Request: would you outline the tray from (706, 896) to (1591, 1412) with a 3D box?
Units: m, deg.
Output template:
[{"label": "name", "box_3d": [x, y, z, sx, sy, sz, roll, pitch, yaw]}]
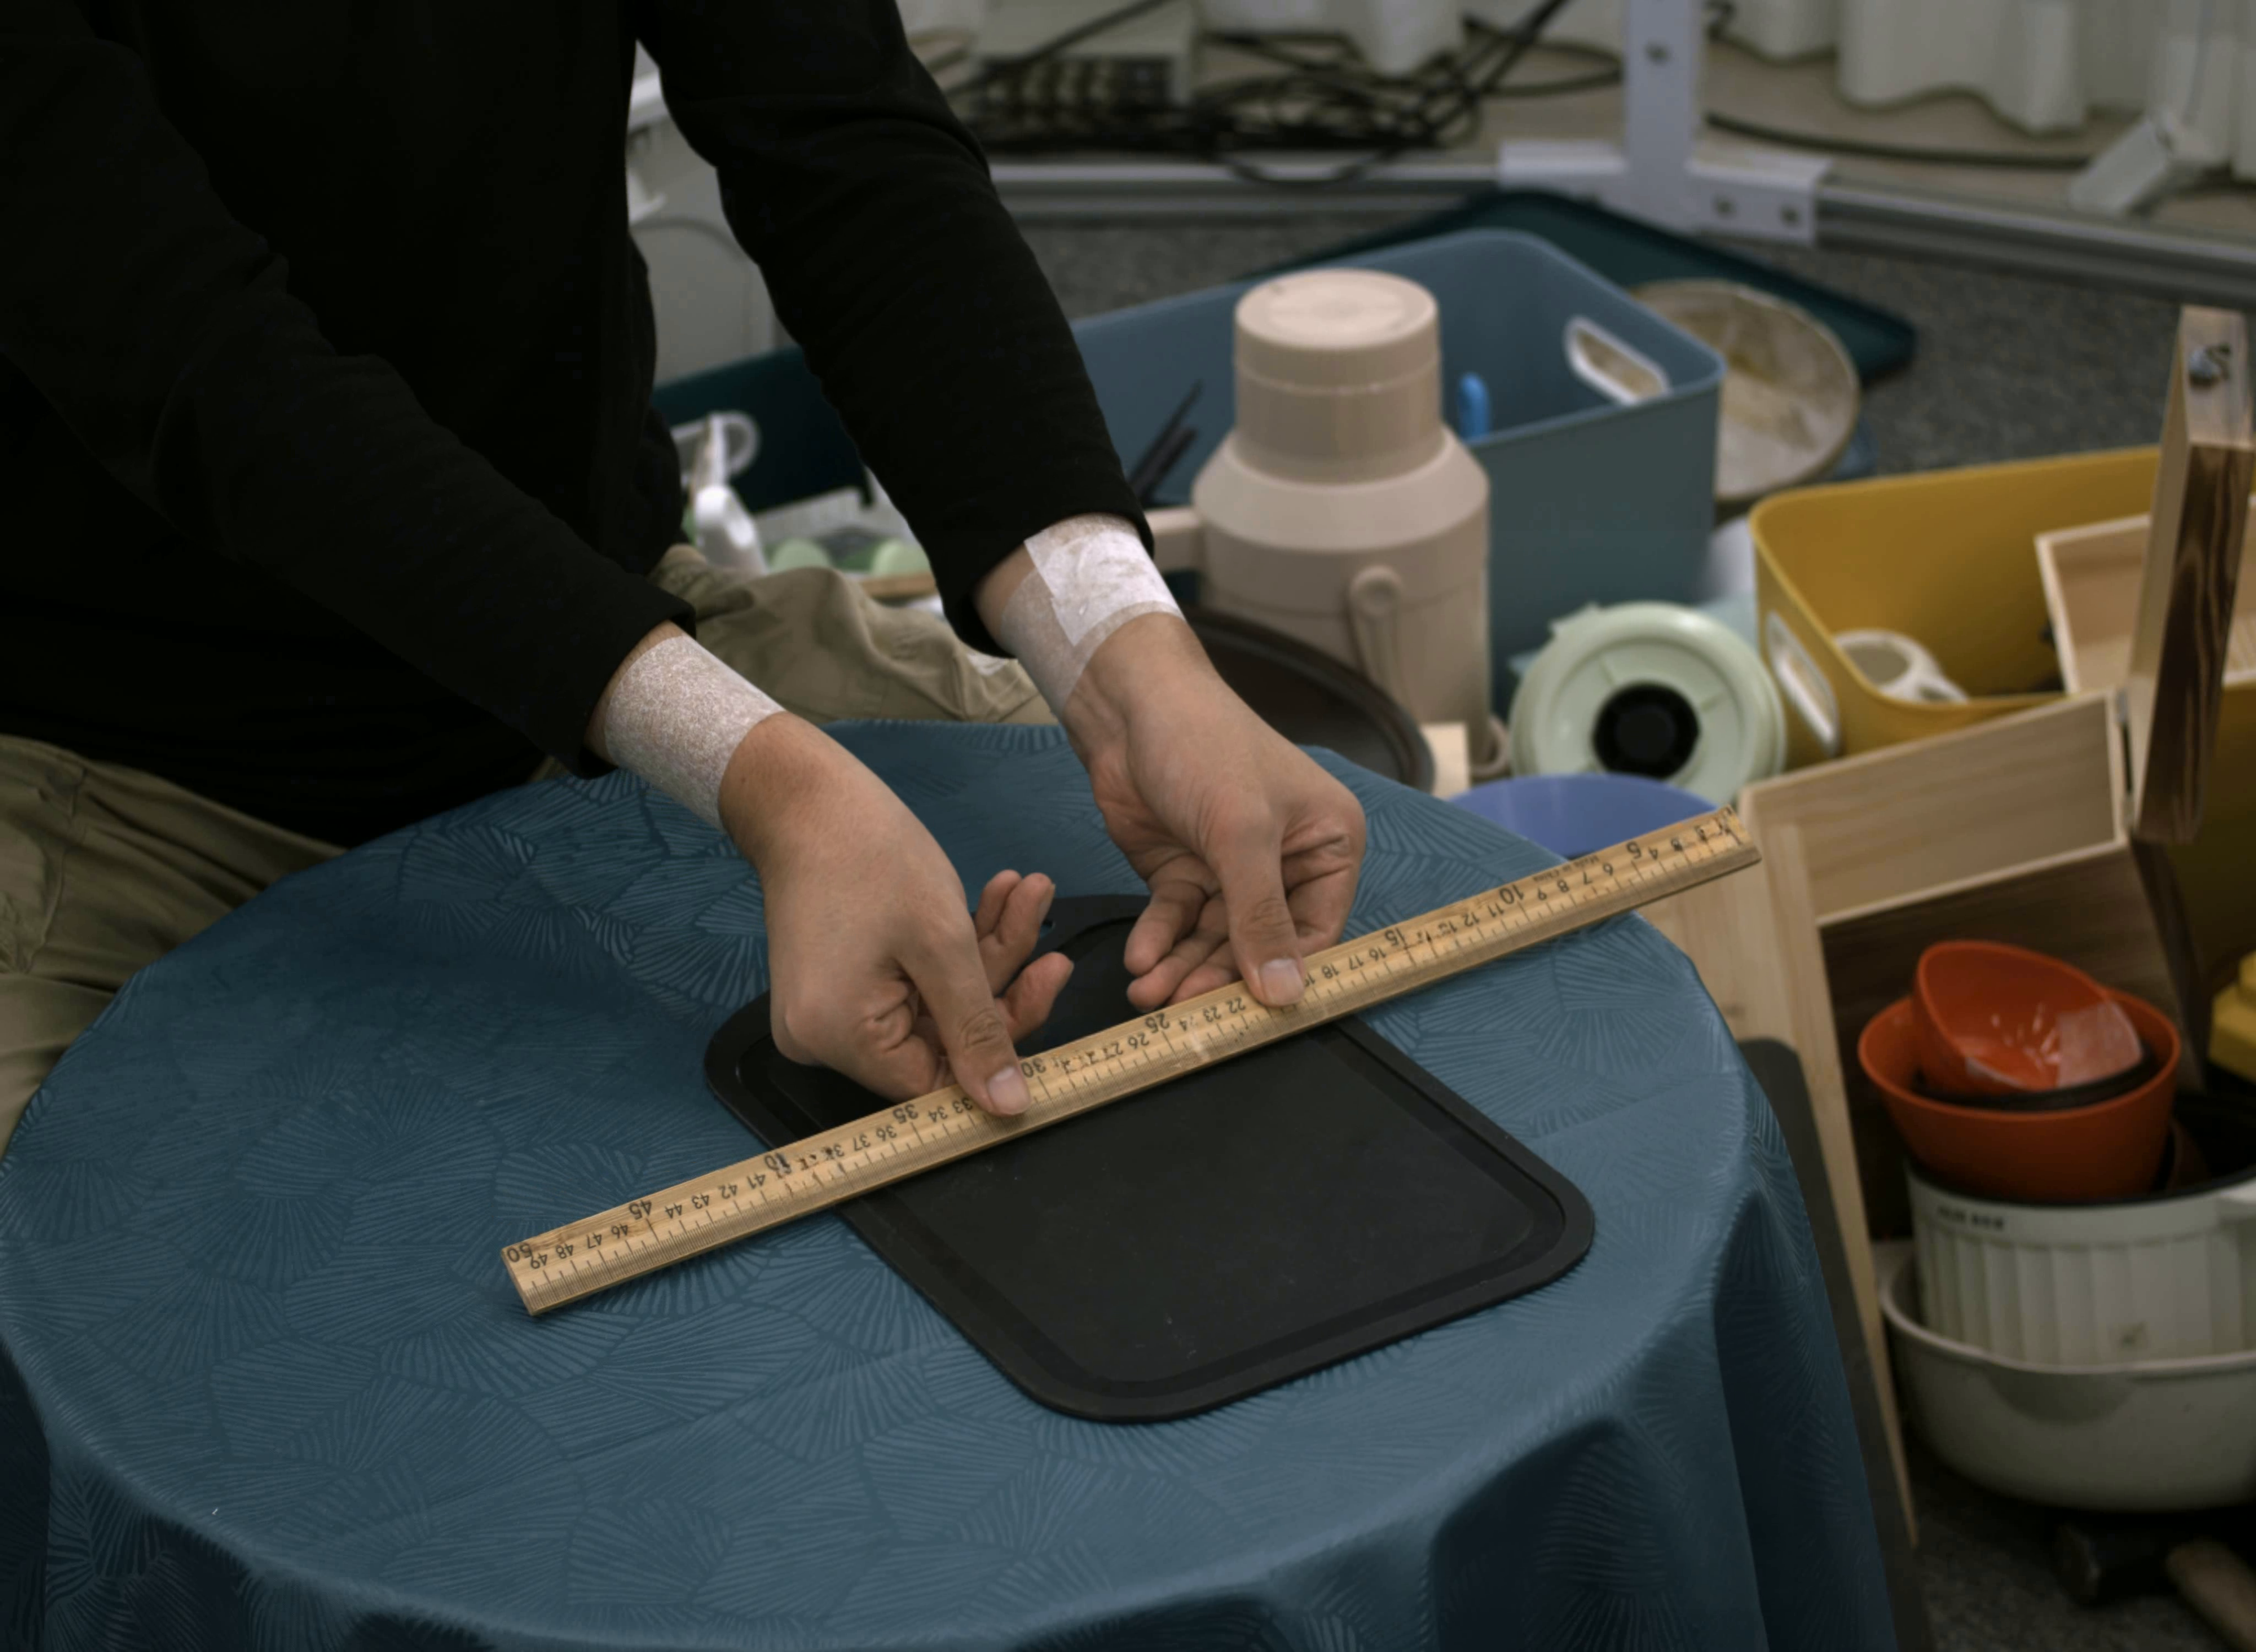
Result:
[{"label": "tray", "box_3d": [-0.003, 0.101, 1.894, 0.212, 0.009, 0.327, -17, 30, -25]}]

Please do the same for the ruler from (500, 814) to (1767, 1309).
[{"label": "ruler", "box_3d": [0.013, 0.075, 1.924, 0.504, 0.006, 0.027, -18, 63, -28]}]
